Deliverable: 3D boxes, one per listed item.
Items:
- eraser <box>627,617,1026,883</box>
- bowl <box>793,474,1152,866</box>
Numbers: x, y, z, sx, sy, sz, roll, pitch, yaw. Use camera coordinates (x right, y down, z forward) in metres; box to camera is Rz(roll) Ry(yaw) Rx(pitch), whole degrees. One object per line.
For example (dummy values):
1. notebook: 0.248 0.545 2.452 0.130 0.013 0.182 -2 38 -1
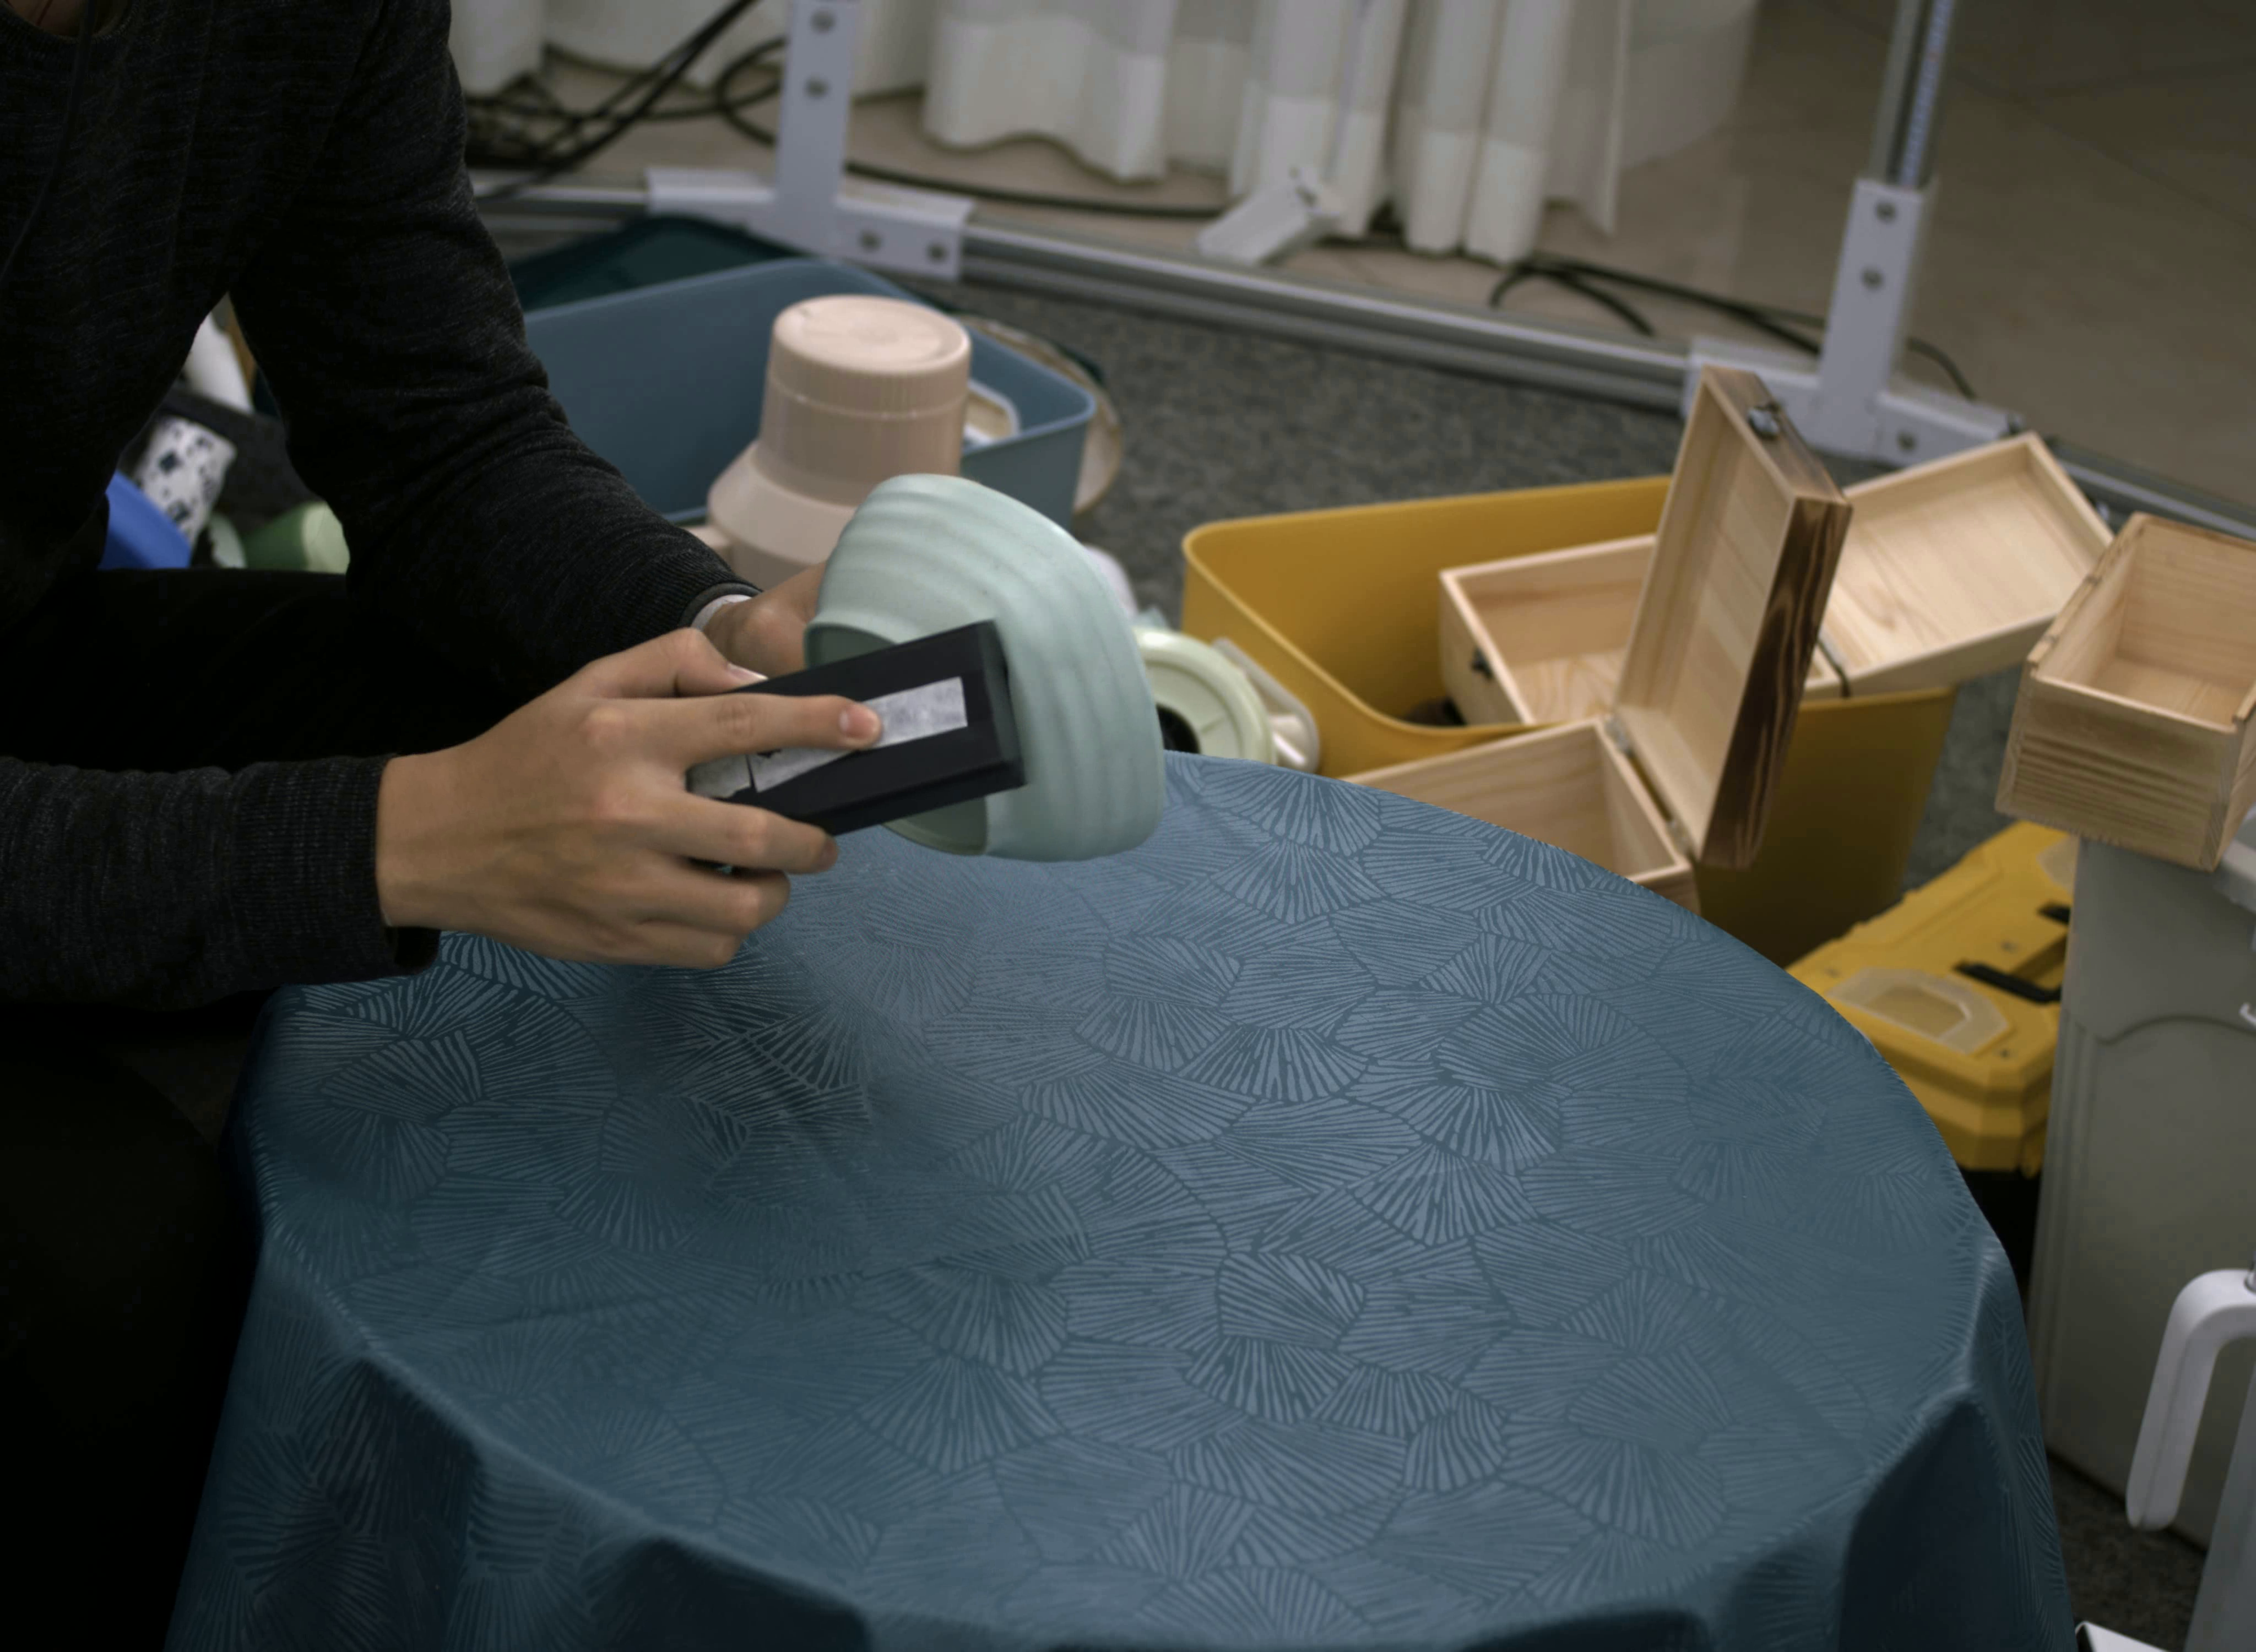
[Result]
1. eraser: -0.097 -0.024 1.714 0.125 0.054 0.030 -17 -19 11
2. bowl: -0.061 -0.042 1.780 0.058 0.150 0.152 -32 45 -31
